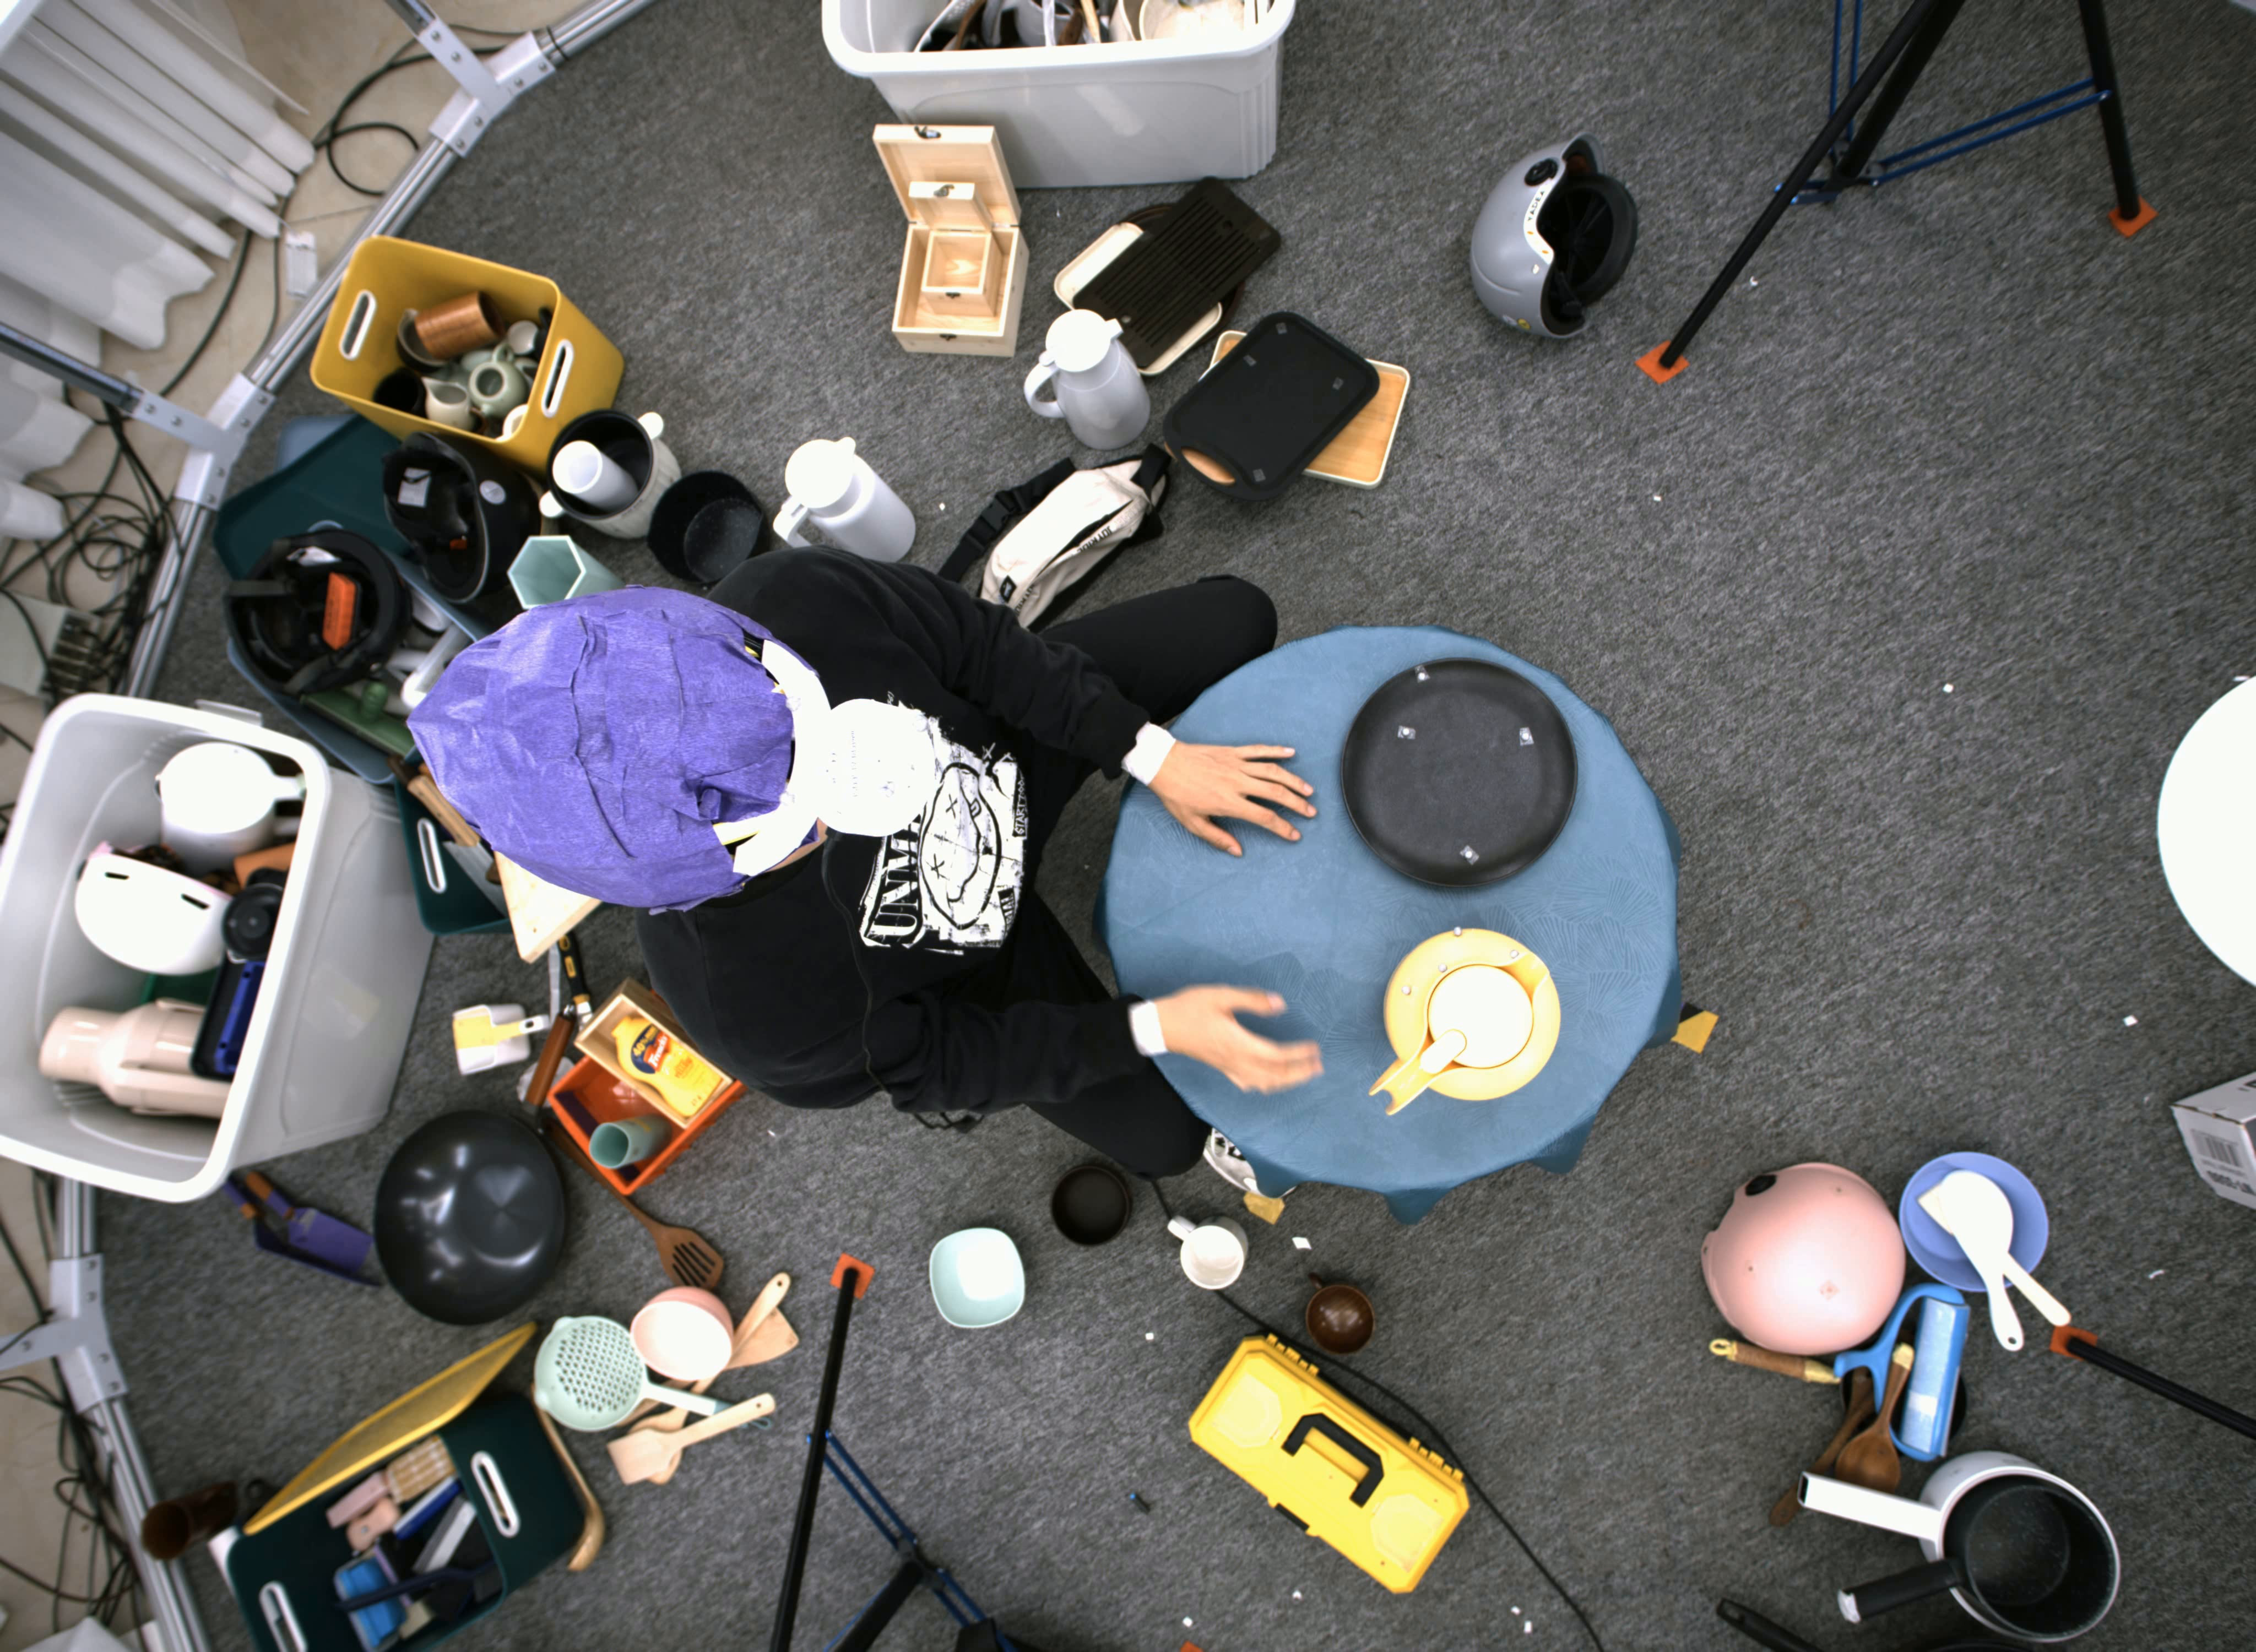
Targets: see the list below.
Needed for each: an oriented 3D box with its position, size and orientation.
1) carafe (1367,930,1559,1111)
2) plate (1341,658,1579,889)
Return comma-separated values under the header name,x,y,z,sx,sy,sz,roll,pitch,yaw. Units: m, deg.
name,x,y,z,sx,sy,sz,roll,pitch,yaw
carafe,0.310,0.190,1.314,0.203,0.261,0.162,-40,77,3
plate,0.346,-0.057,1.441,0.245,0.023,0.243,-1,87,11
